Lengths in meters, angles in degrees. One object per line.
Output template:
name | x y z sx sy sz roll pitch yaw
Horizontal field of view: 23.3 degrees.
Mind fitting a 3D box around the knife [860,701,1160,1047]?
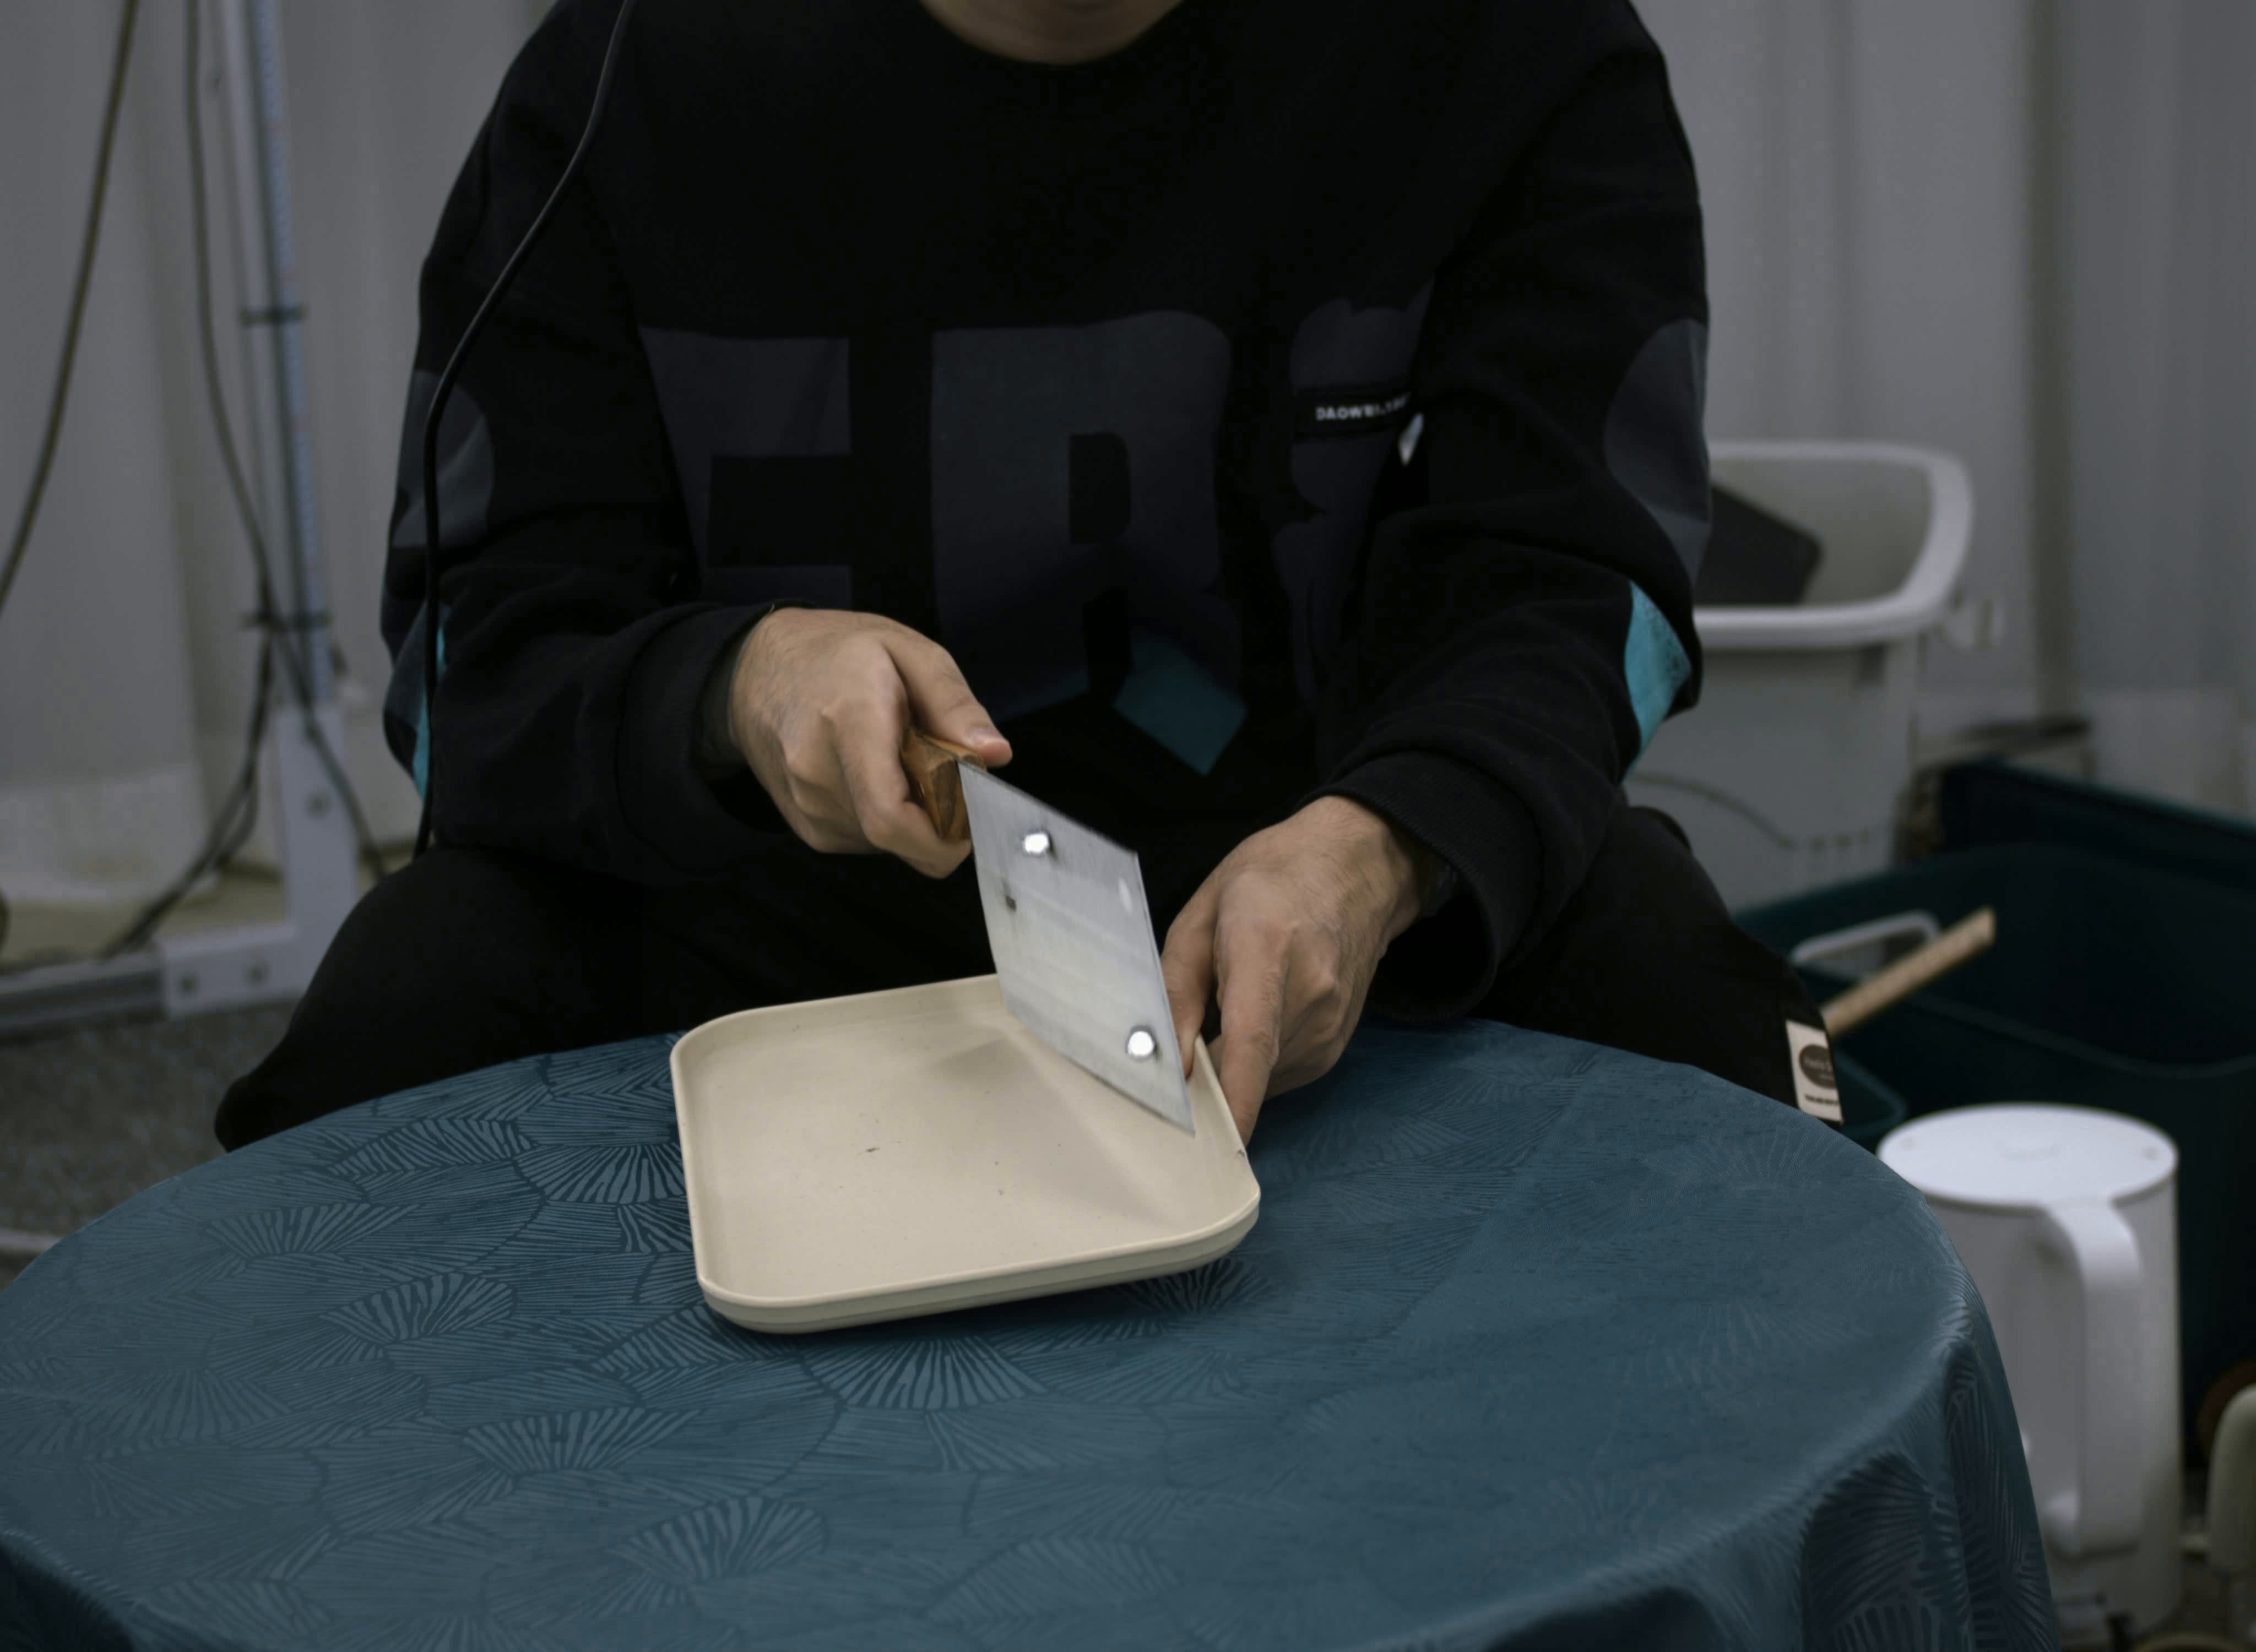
knife | -0.036 0.015 1.752 0.021 0.092 0.307 -27 14 -8

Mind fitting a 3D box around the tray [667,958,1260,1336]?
tray | -0.055 0.098 1.704 0.170 0.017 0.242 -9 19 -4
